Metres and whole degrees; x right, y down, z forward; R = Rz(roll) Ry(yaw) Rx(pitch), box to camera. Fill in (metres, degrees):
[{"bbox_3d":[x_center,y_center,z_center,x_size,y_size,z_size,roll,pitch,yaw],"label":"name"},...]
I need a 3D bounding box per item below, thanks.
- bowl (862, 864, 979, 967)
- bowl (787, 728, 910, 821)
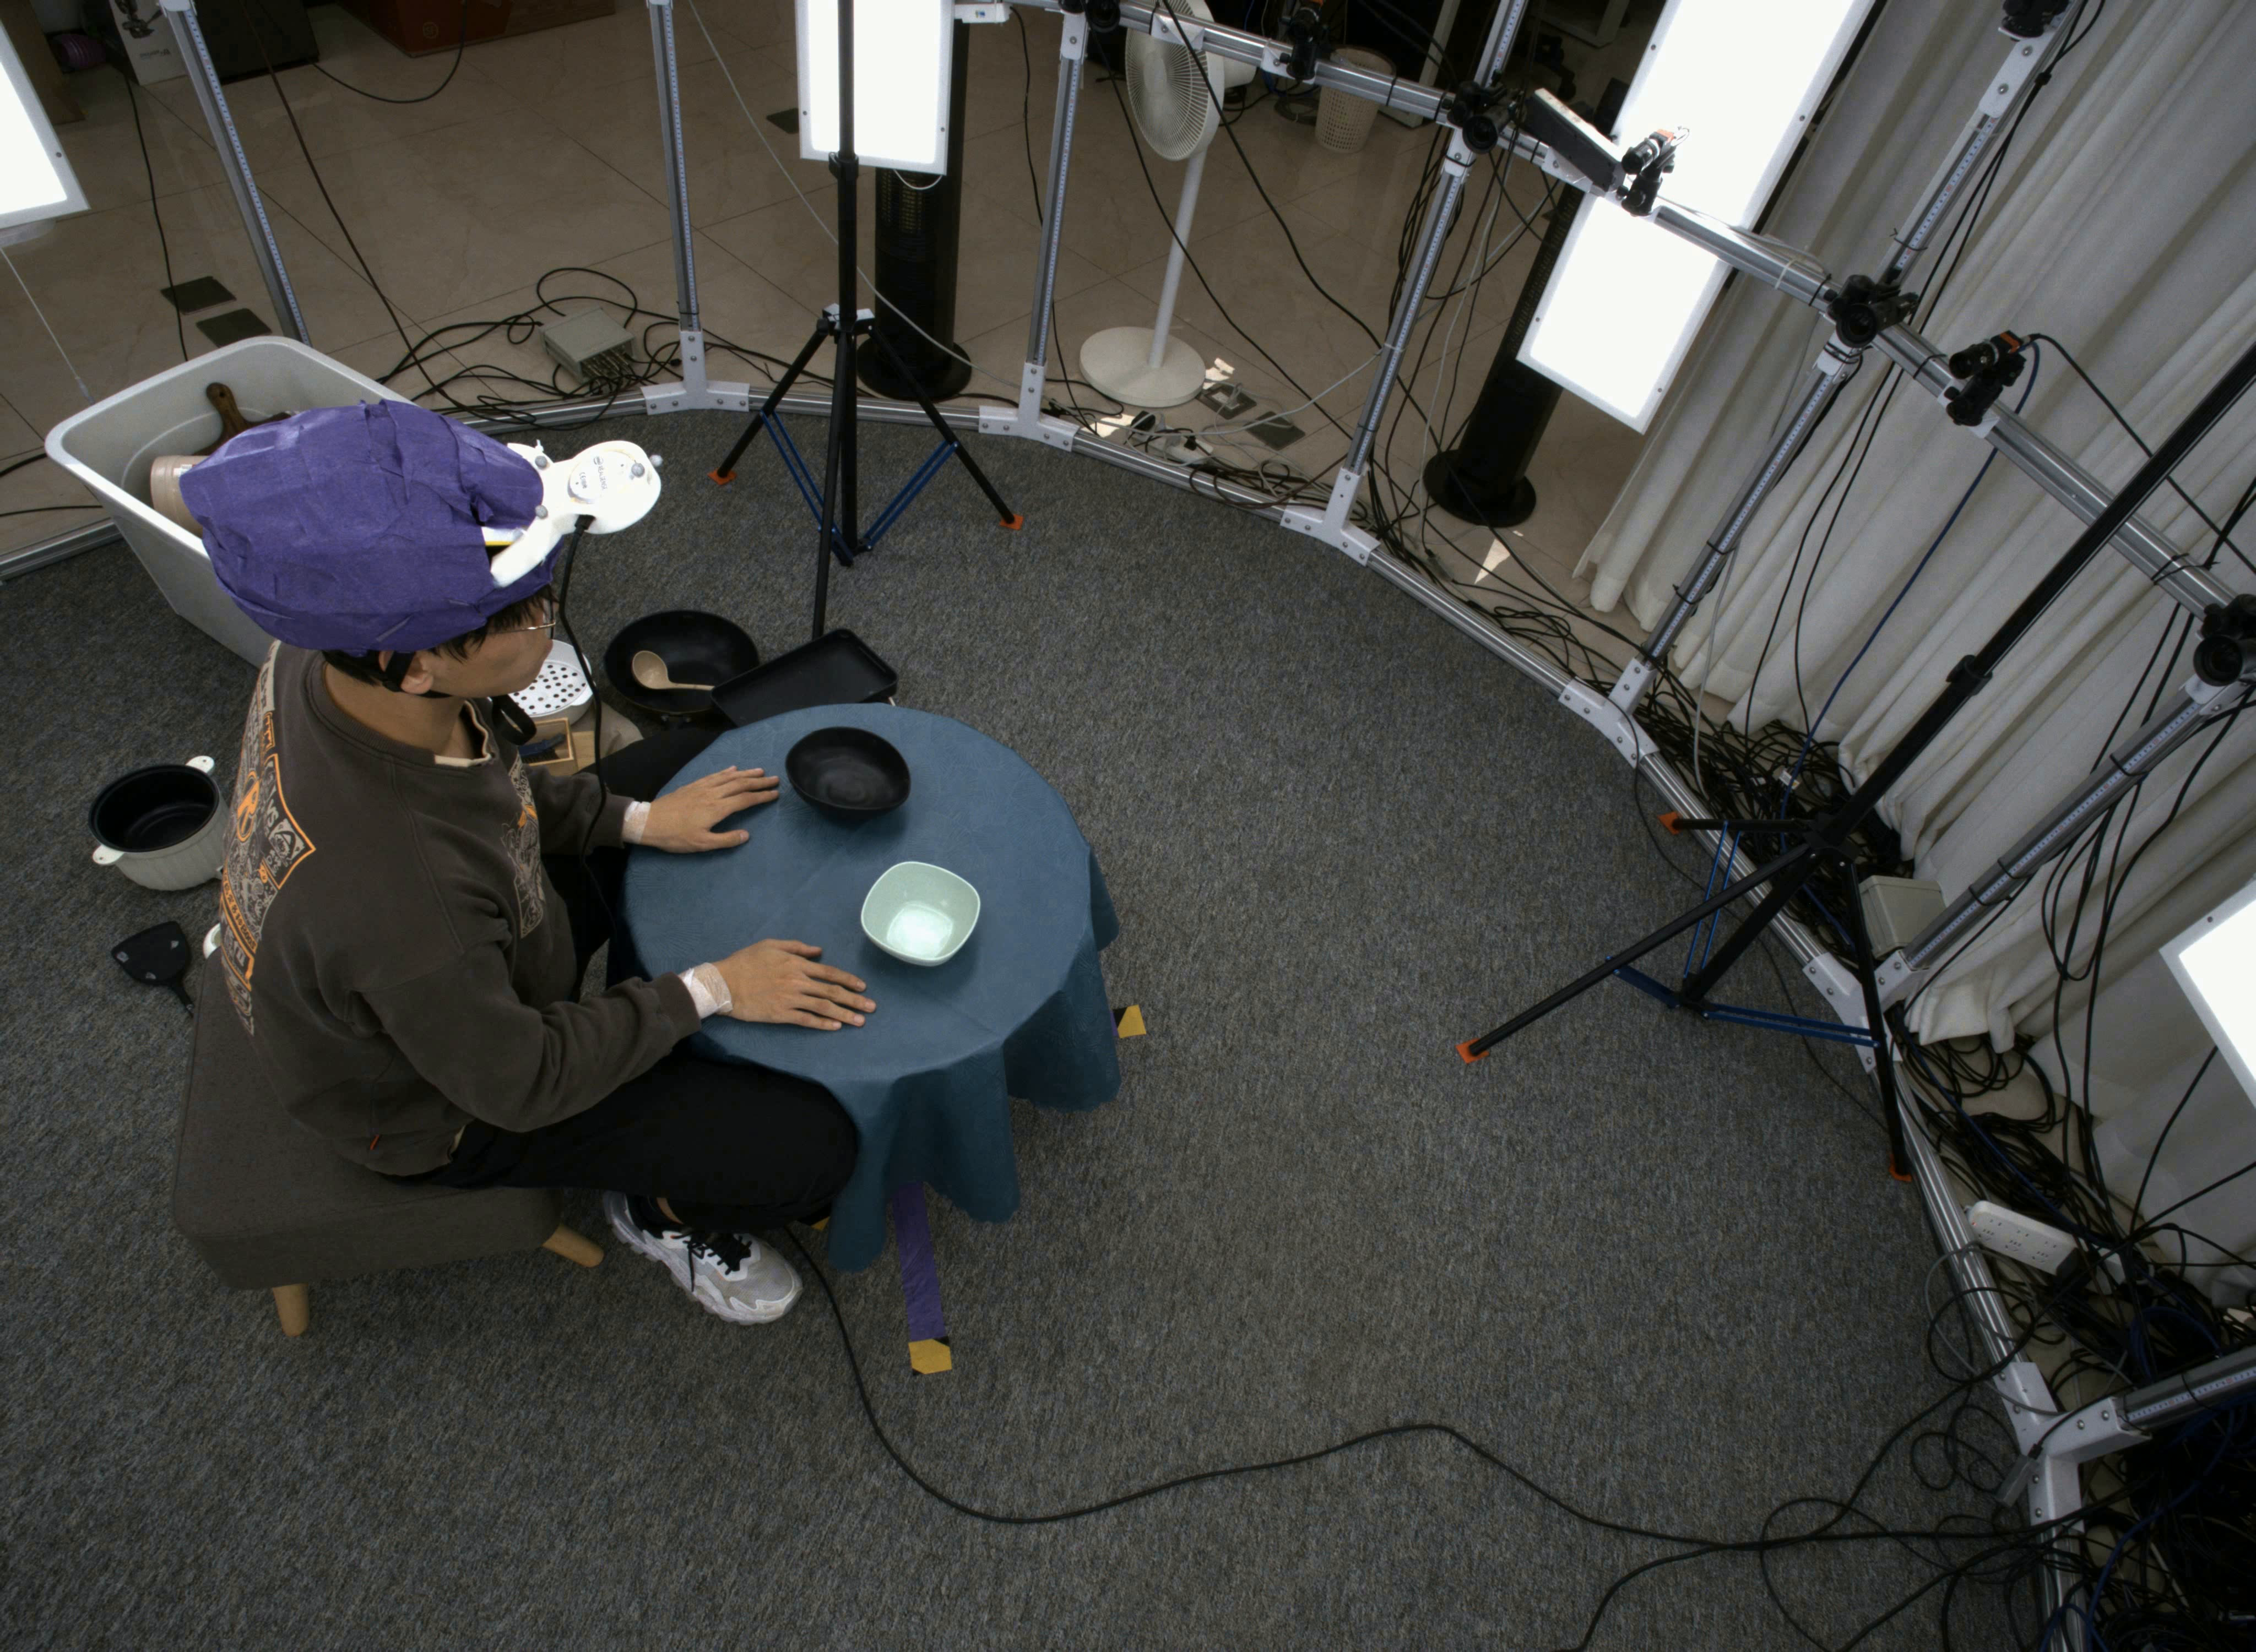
[{"bbox_3d":[-0.263,0.122,1.651,0.151,0.060,0.148,8,51,-8],"label":"bowl"},{"bbox_3d":[-0.376,-0.059,1.753,0.169,0.068,0.136,18,52,-1],"label":"bowl"}]
